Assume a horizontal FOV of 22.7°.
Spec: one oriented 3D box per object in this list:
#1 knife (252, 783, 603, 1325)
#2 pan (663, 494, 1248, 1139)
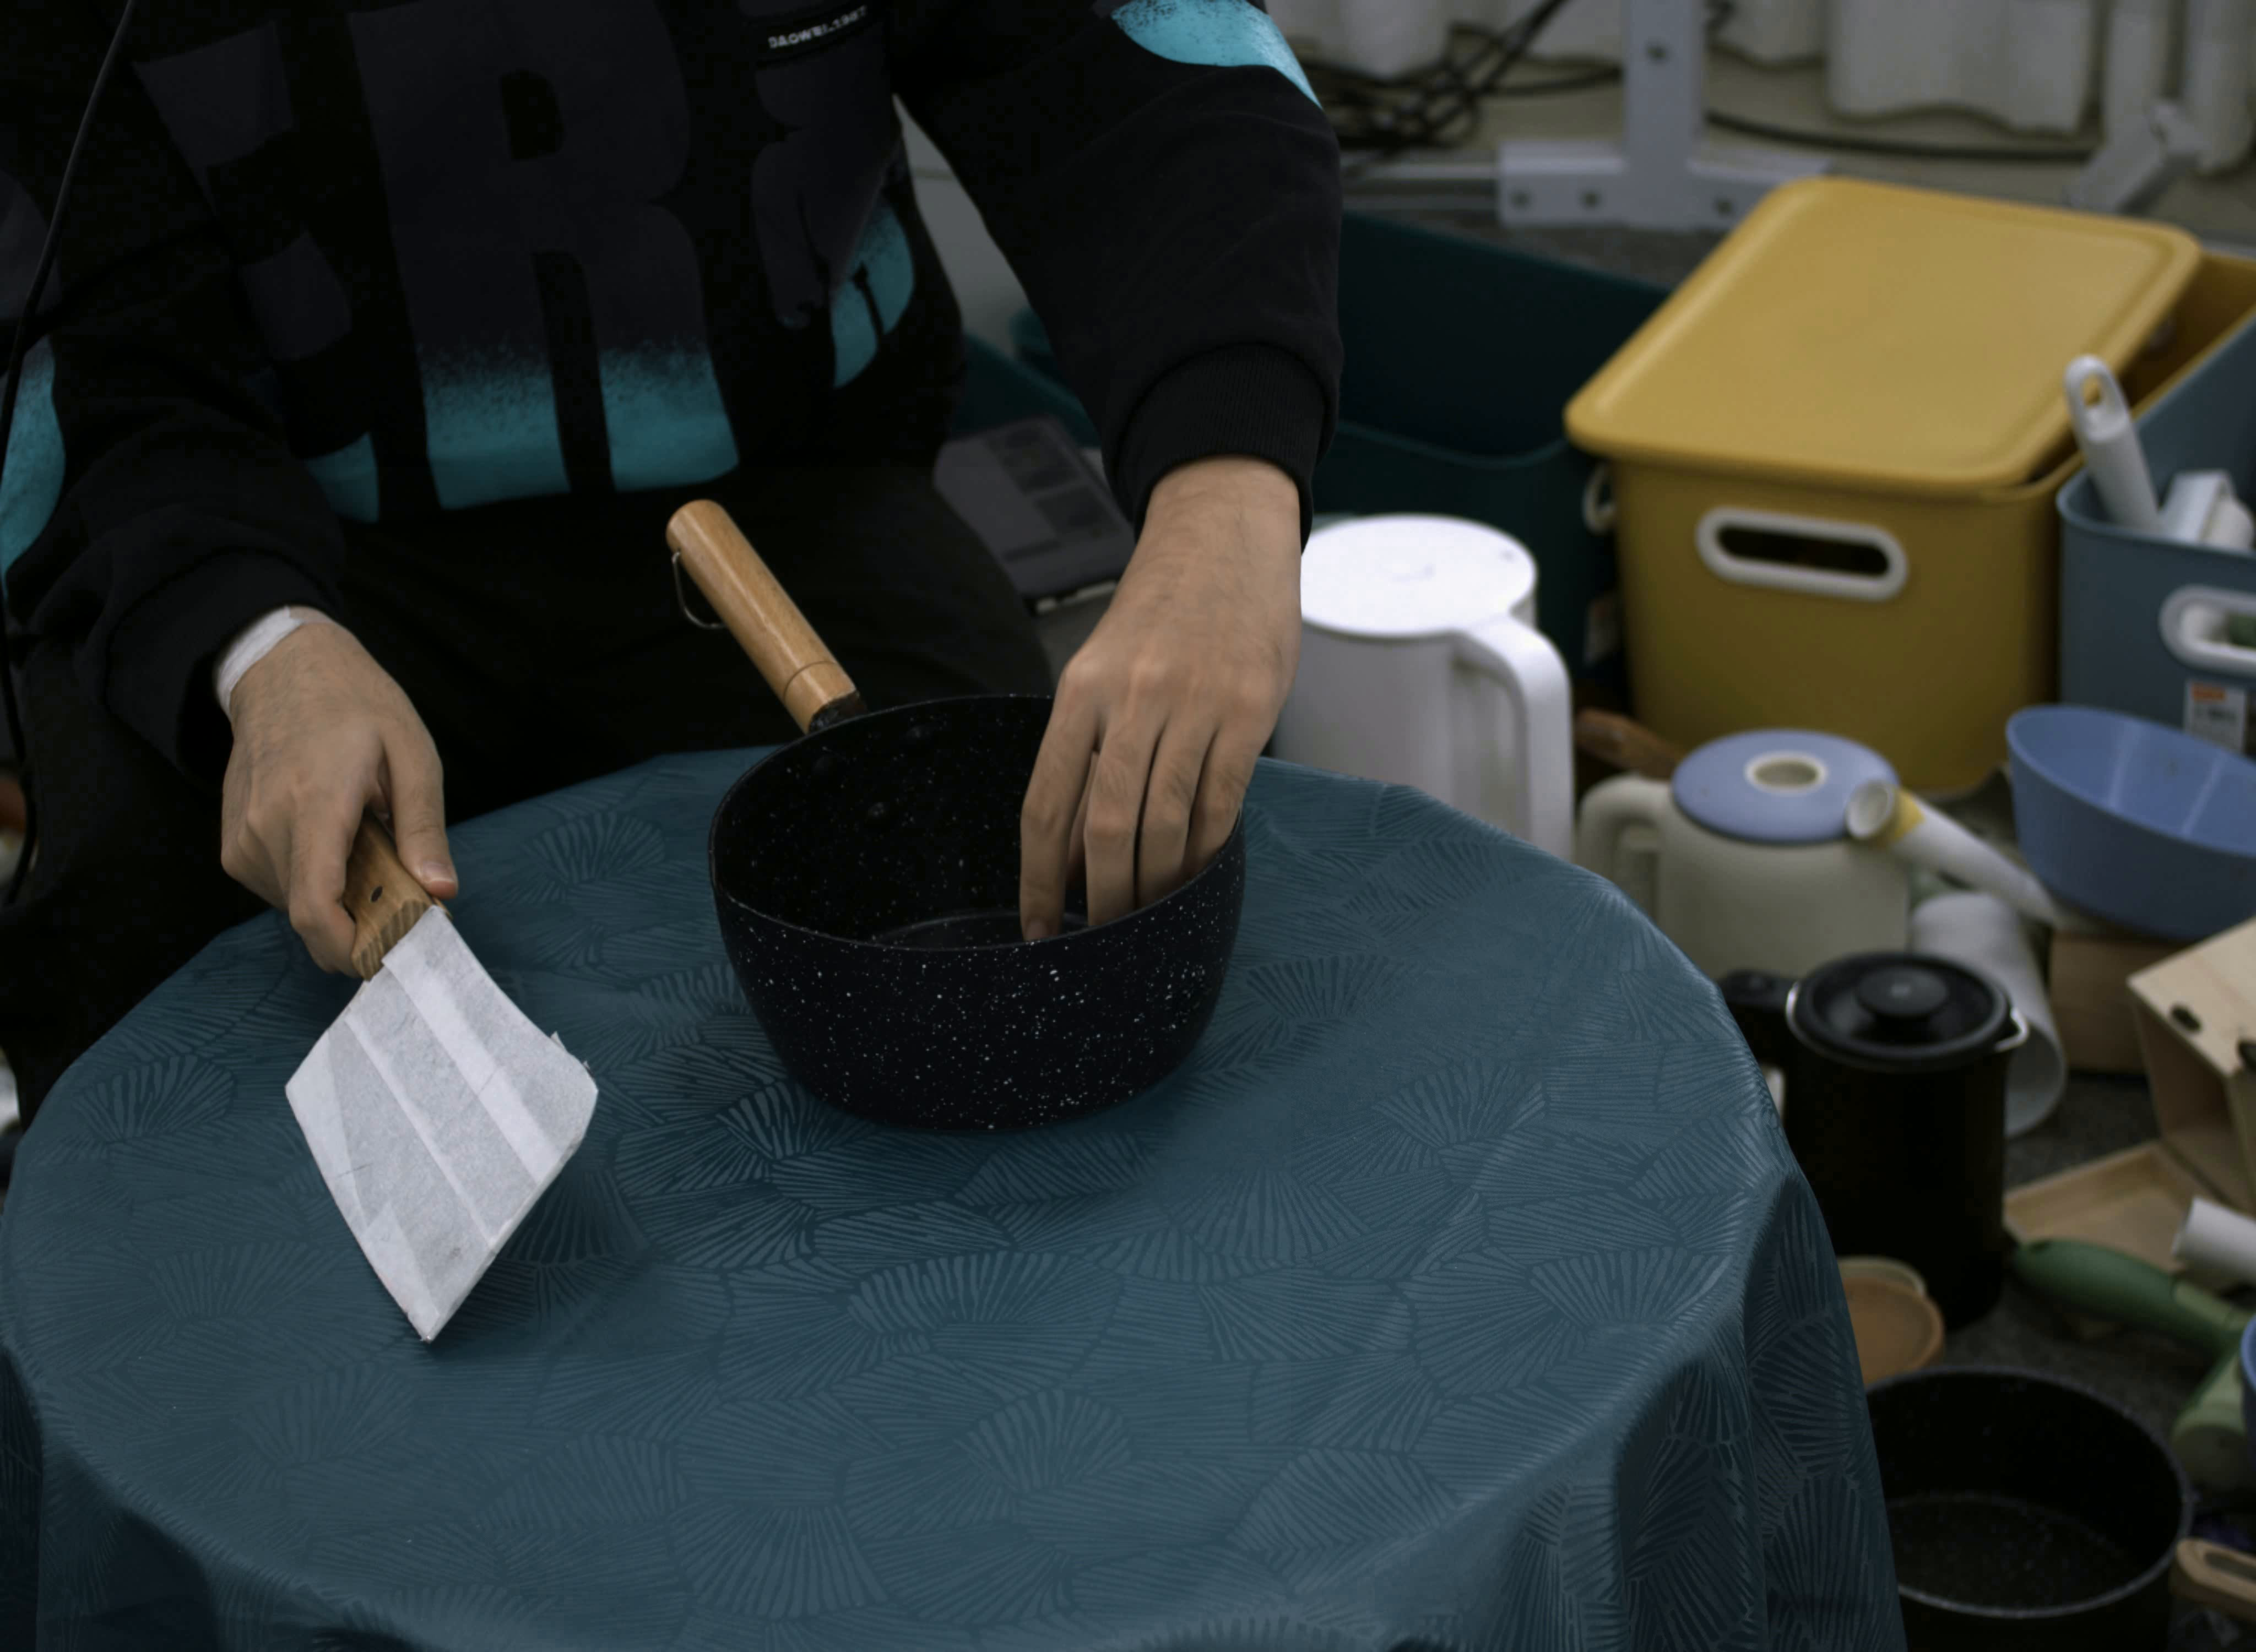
[{"bbox_3d":[-0.248,0.064,1.916,0.113,0.021,0.318,-48,32,6],"label":"knife"},{"bbox_3d":[-0.088,-0.008,2.003,0.208,0.107,0.344,-17,32,-23],"label":"pan"}]
